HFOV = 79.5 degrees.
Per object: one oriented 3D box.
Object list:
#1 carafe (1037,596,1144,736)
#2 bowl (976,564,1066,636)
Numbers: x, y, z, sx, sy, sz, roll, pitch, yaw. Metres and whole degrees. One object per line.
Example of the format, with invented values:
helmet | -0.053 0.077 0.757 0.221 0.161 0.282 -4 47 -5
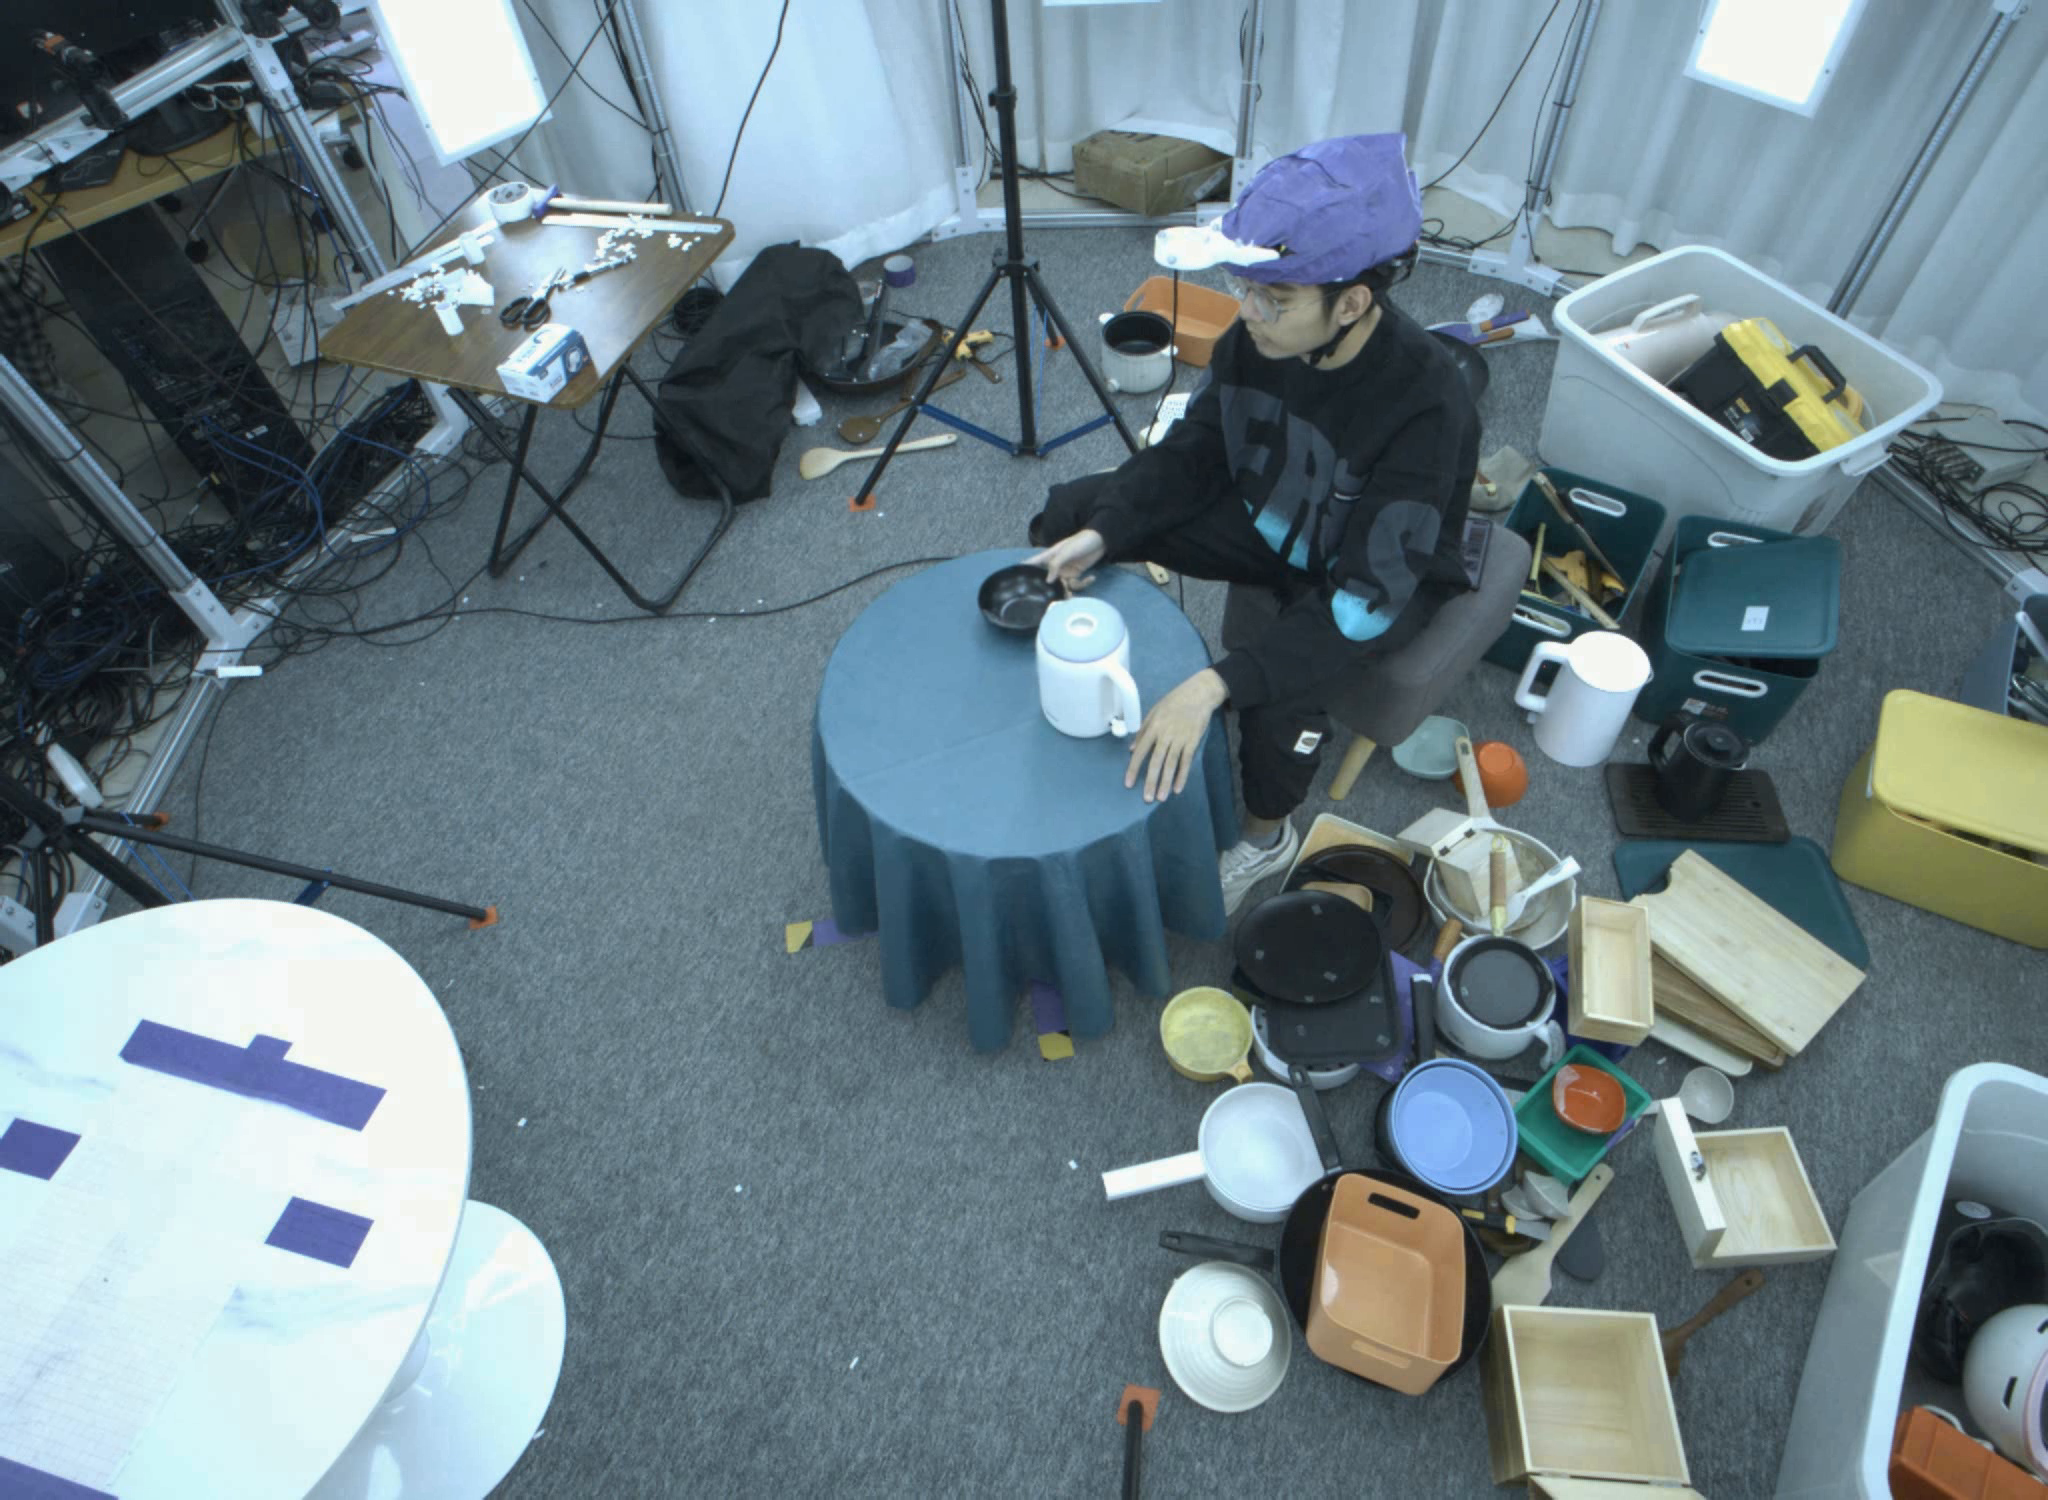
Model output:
carafe | 0.102 -0.104 1.748 0.133 0.184 0.188 -36 62 -19
bowl | -0.004 -0.224 1.913 0.140 0.050 0.138 1 54 0
